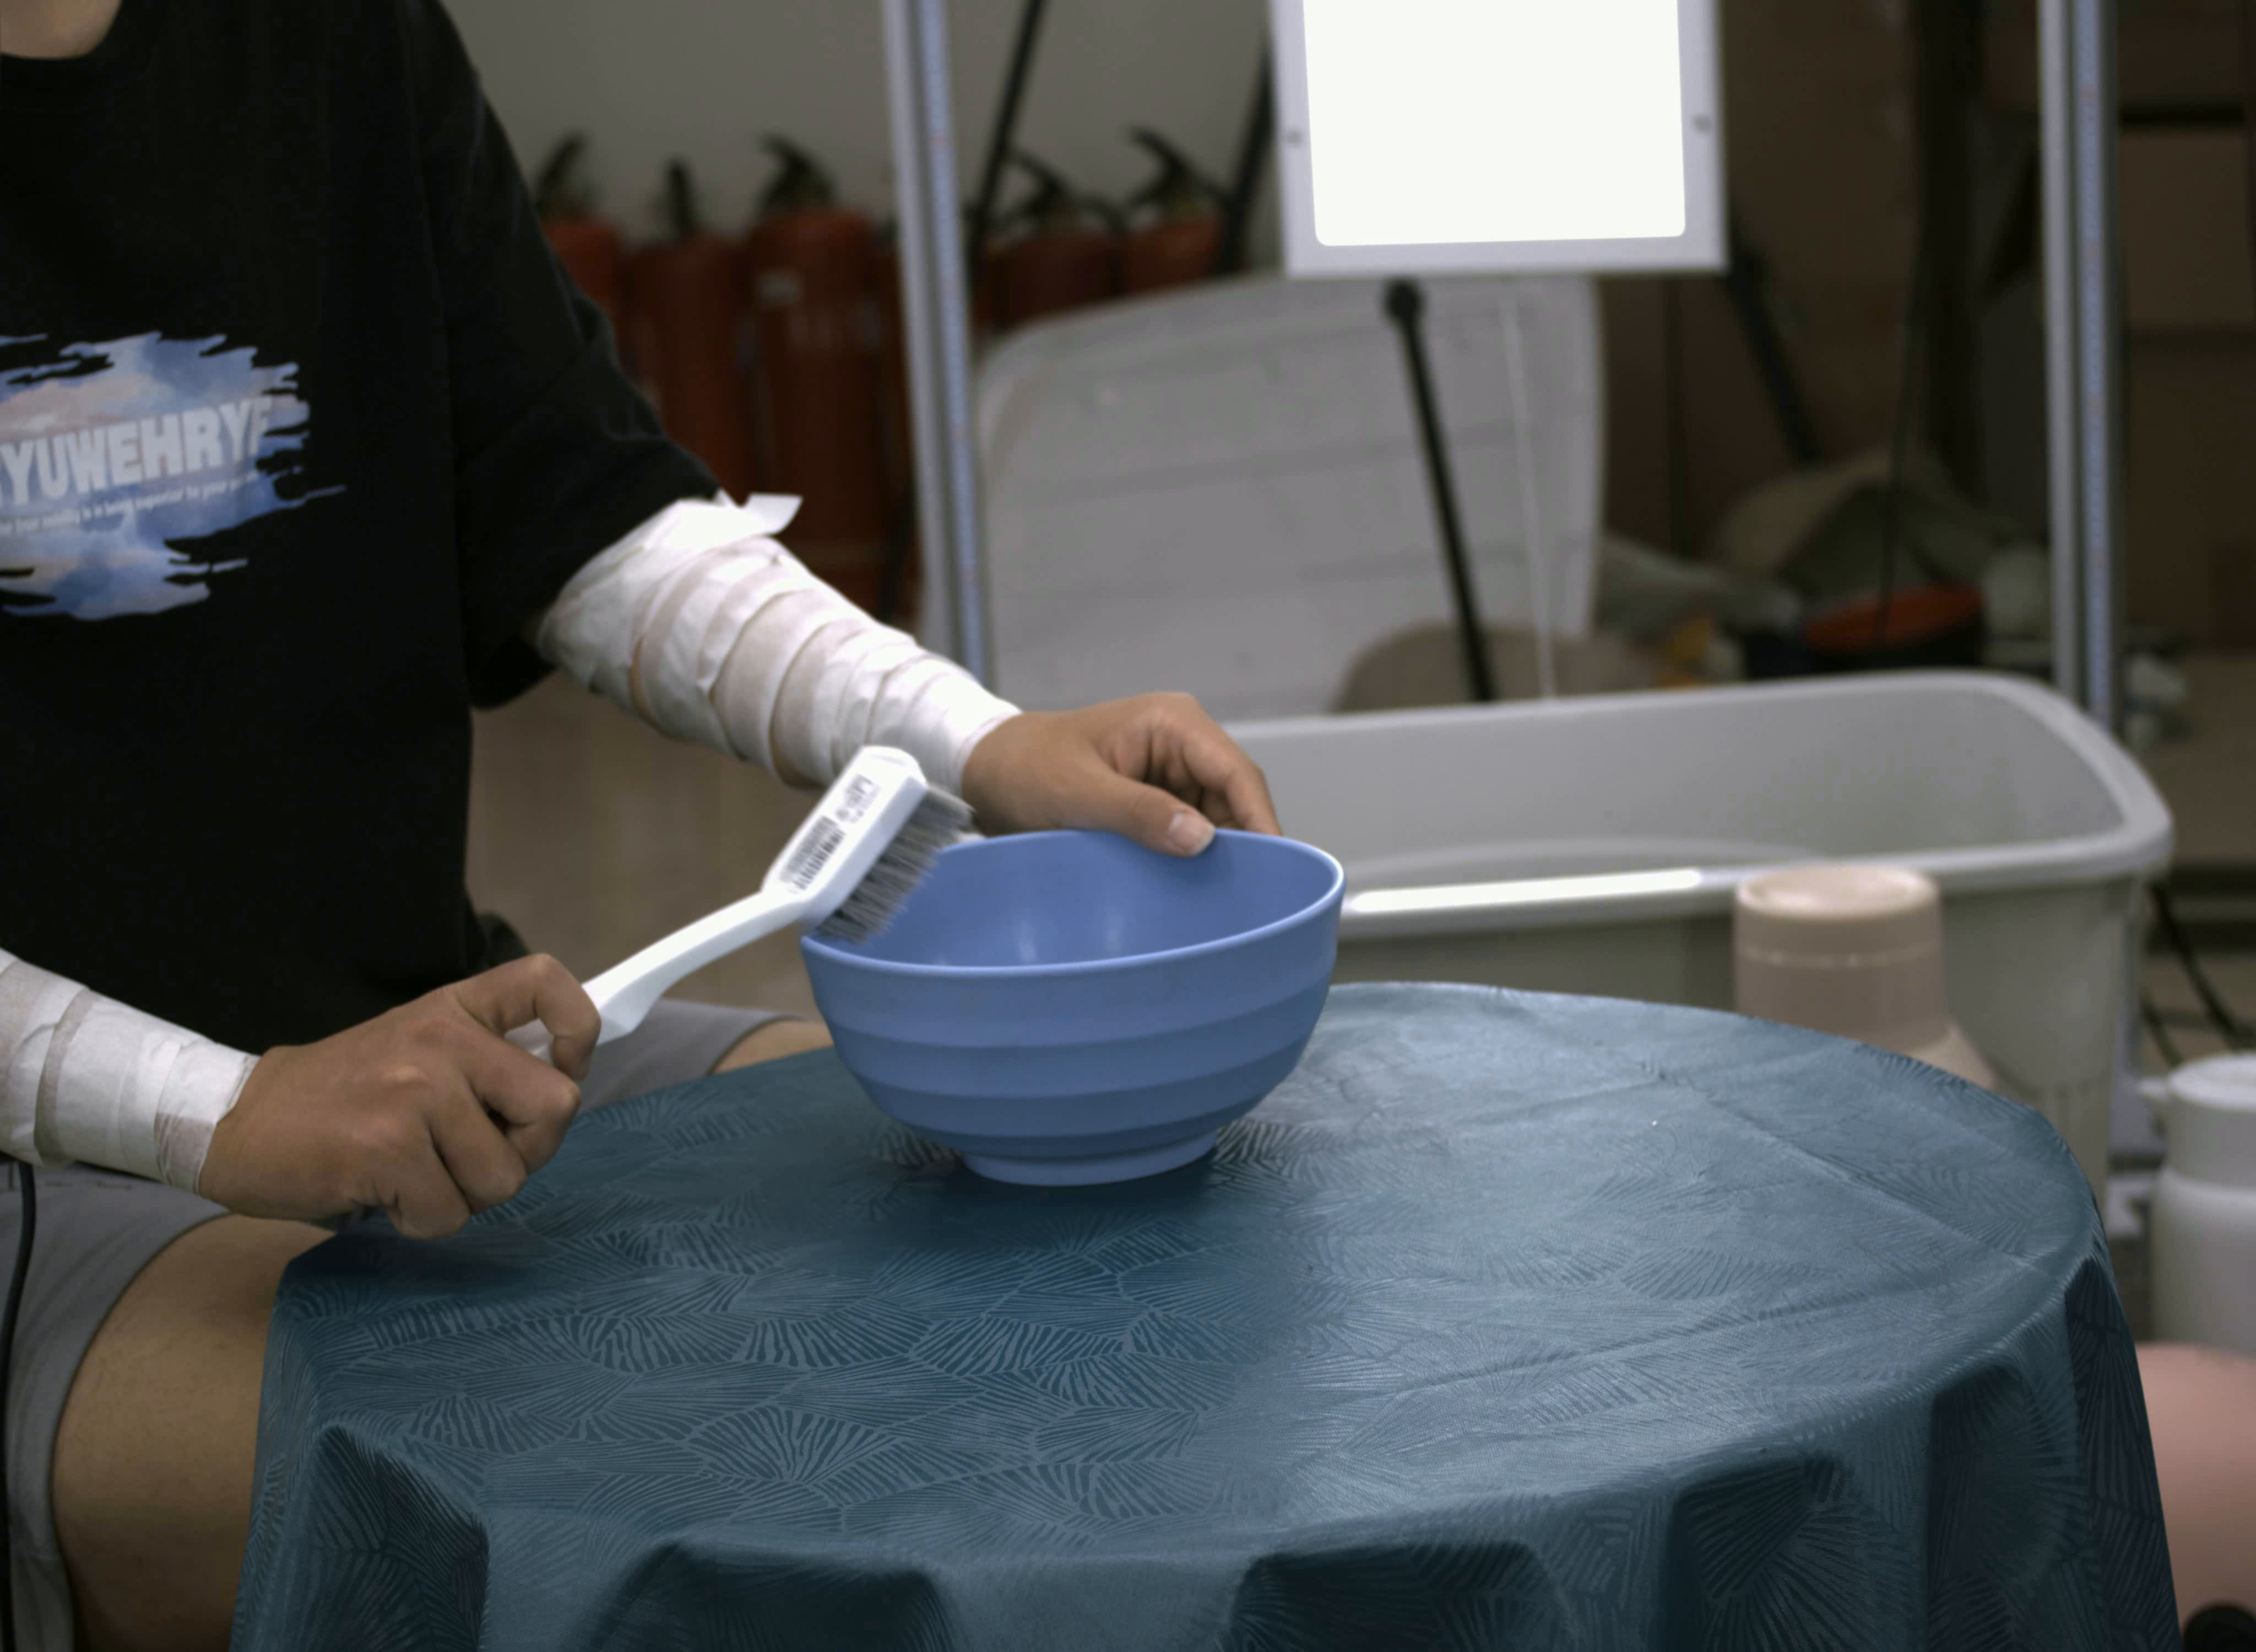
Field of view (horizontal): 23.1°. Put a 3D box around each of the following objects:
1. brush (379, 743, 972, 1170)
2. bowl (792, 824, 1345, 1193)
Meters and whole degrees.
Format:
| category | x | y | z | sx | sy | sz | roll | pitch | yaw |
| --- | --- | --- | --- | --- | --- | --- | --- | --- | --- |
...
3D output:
| category | x | y | z | sx | sy | sz | roll | pitch | yaw |
| --- | --- | --- | --- | --- | --- | --- | --- | --- | --- |
| brush | -0.153 | 0.056 | 1.902 | 0.240 | 0.050 | 0.035 | -39 | 35 | -17 |
| bowl | -0.016 | 0.070 | 1.943 | 0.196 | 0.096 | 0.196 | -7 | 14 | 0 |
